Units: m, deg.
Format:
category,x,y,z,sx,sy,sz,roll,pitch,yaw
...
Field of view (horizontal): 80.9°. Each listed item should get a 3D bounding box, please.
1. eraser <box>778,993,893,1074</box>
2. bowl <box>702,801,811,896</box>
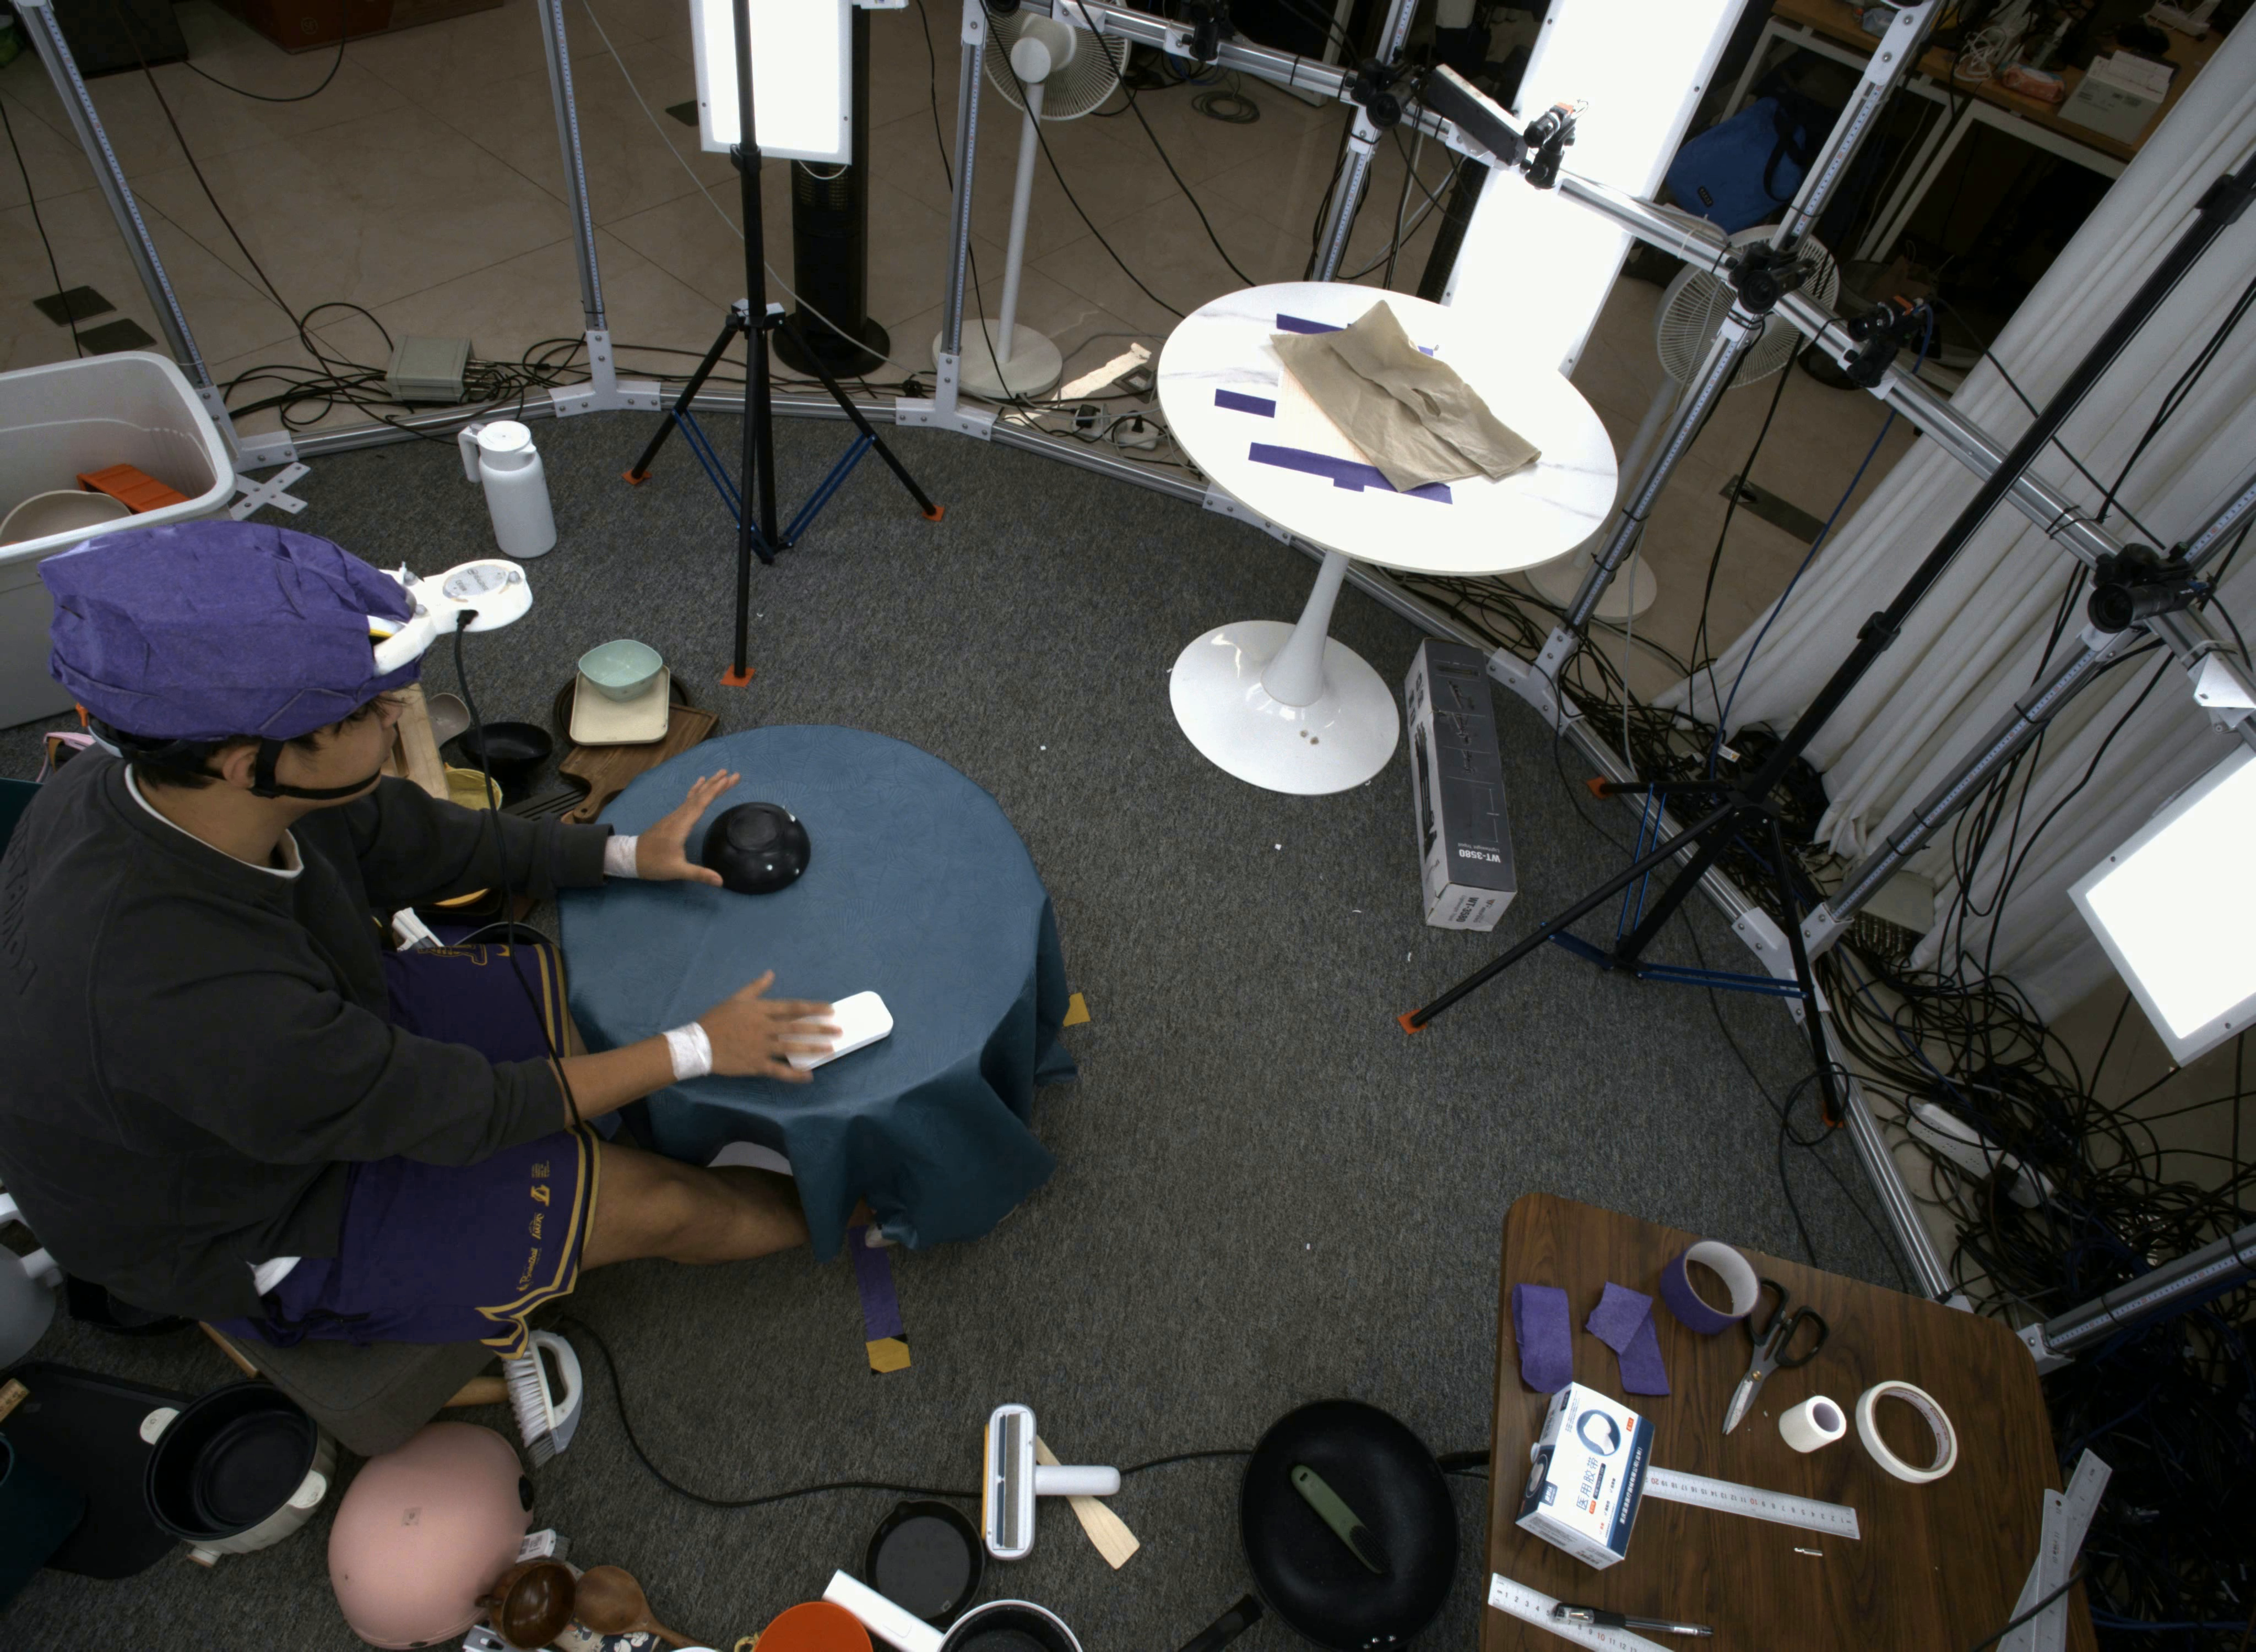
category,x,y,z,sx,sy,sz,roll,pitch,yaw
eraser,-0.348,0.242,1.547,0.132,0.035,0.062,-20,59,-28
bowl,-0.480,0.017,1.668,0.140,0.050,0.137,9,53,-10
